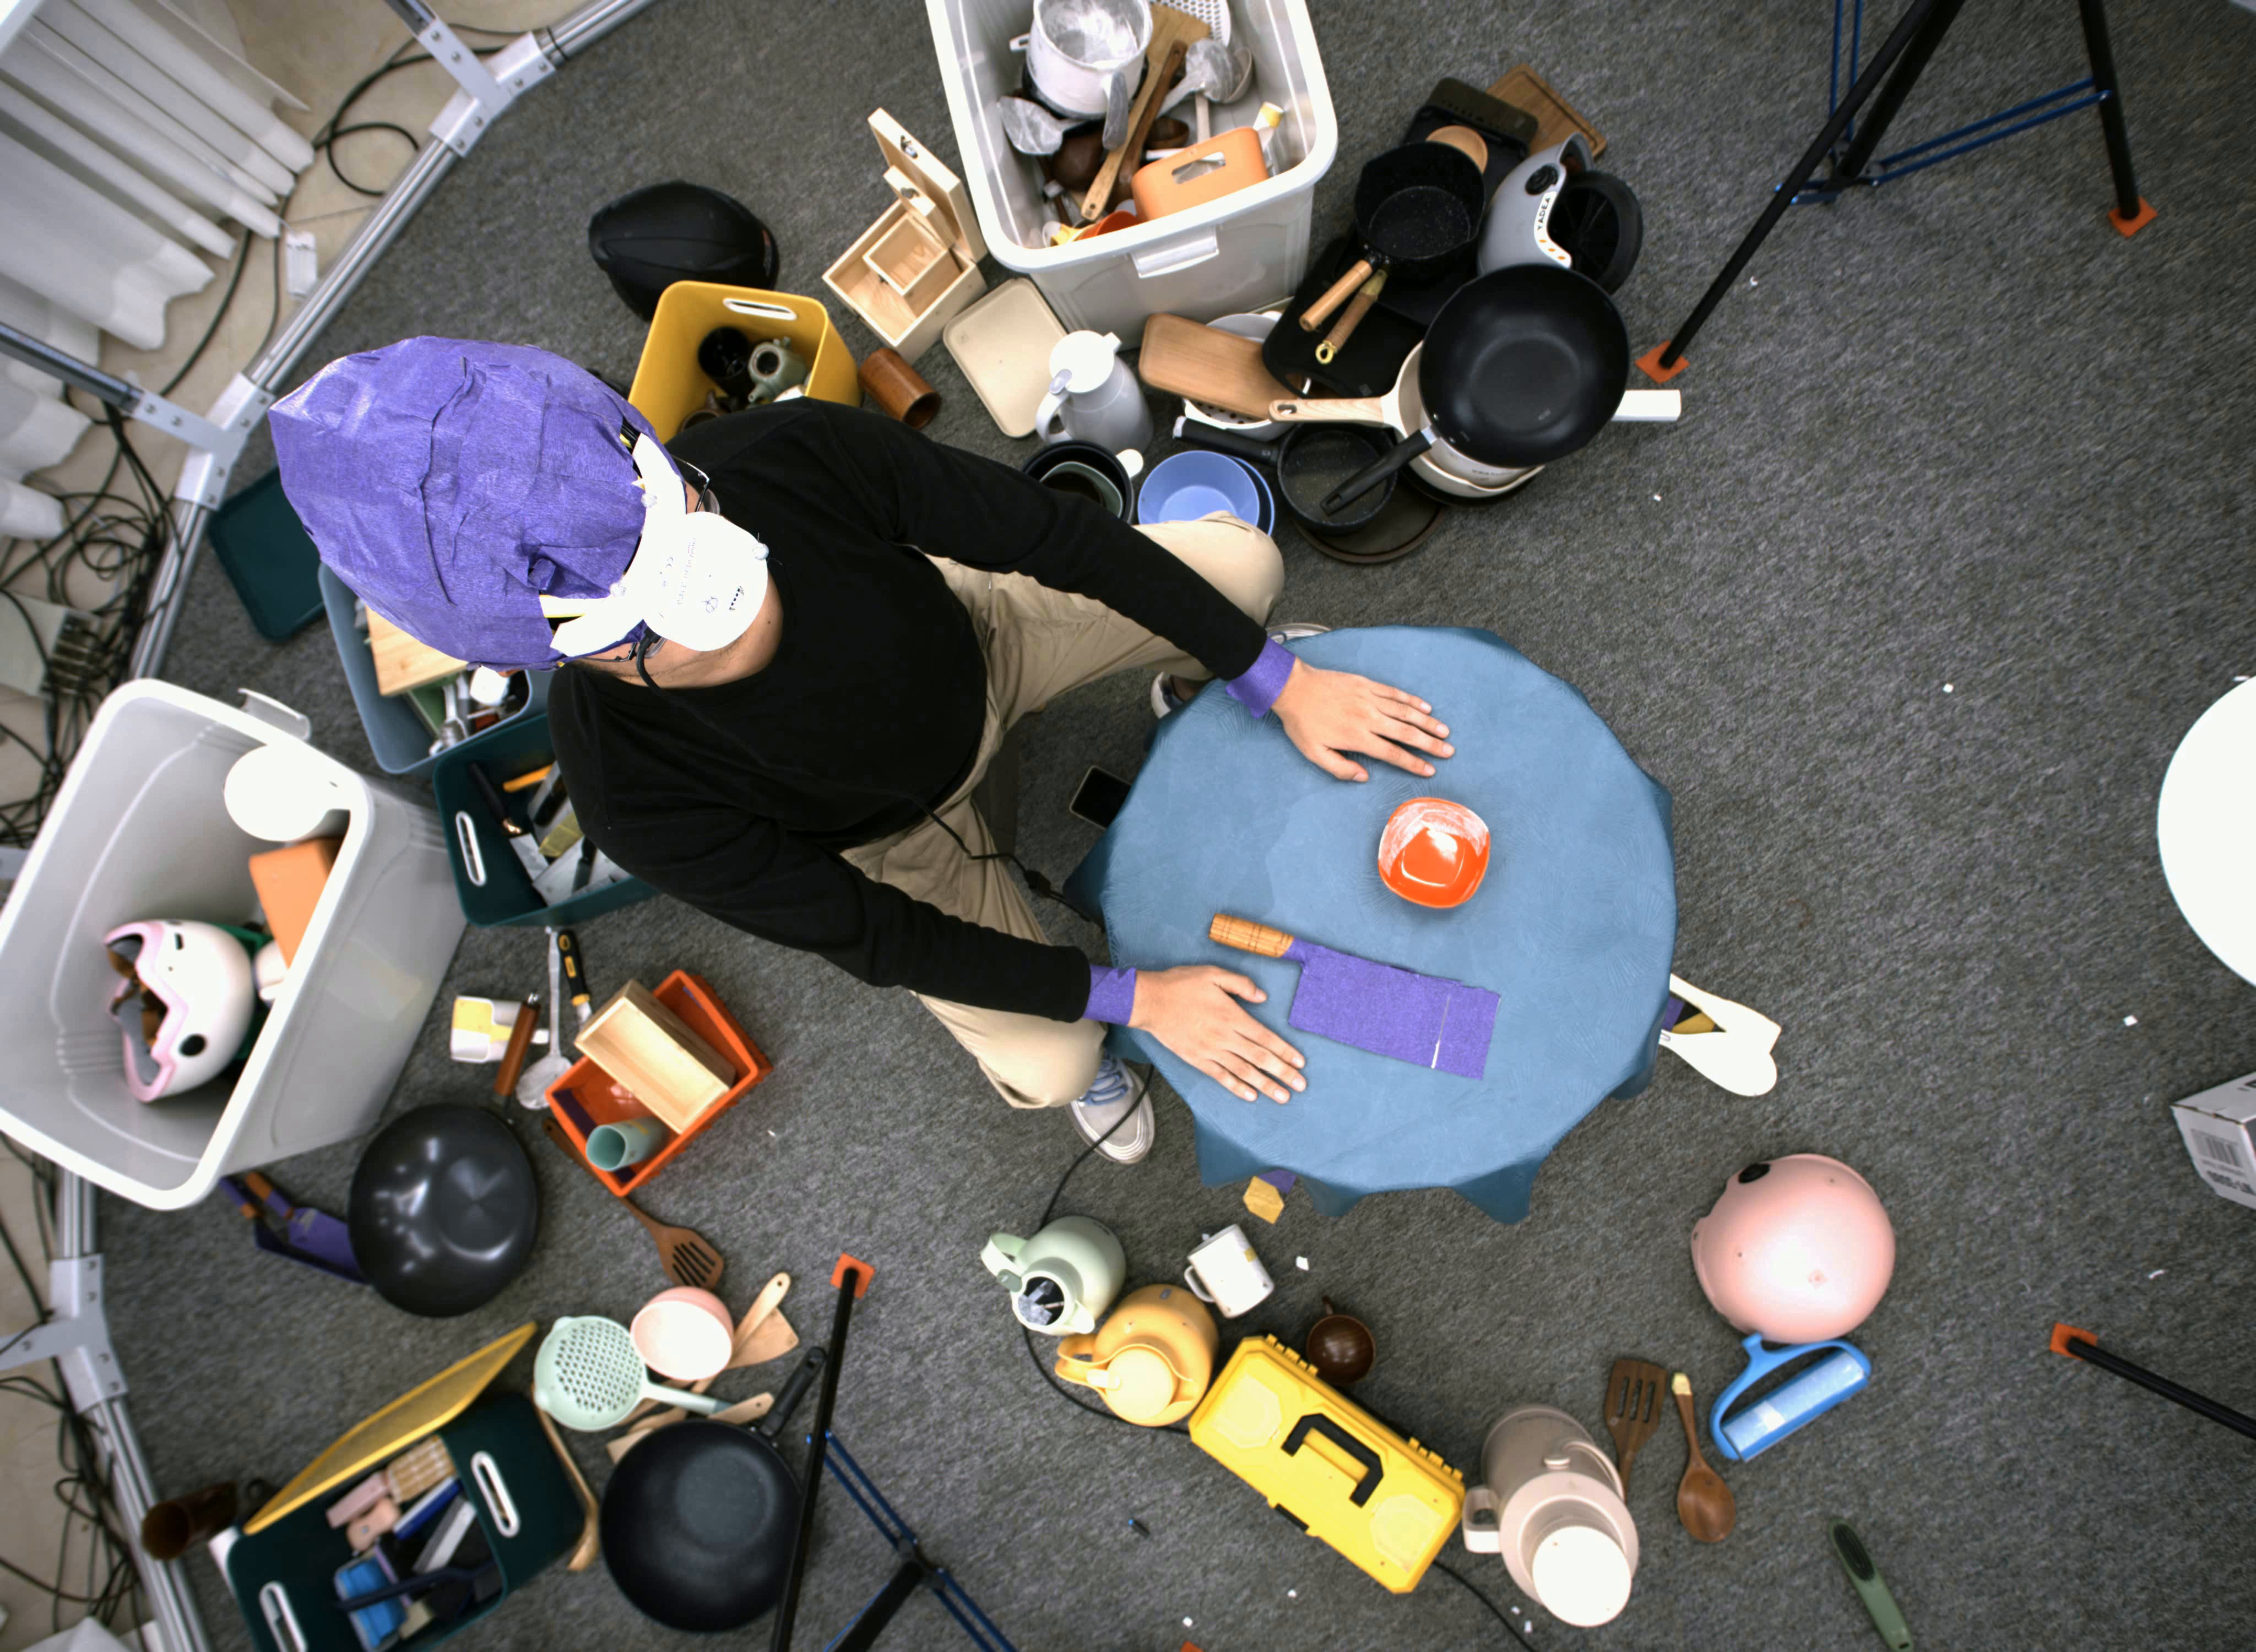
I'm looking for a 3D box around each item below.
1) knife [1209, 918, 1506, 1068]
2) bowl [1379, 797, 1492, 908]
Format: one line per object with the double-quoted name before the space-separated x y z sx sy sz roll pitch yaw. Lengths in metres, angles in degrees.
"knife" 0.231 0.176 1.450 0.315 0.032 0.103 14 89 10
"bowl" 0.316 0.027 1.425 0.119 0.051 0.118 0 89 8
